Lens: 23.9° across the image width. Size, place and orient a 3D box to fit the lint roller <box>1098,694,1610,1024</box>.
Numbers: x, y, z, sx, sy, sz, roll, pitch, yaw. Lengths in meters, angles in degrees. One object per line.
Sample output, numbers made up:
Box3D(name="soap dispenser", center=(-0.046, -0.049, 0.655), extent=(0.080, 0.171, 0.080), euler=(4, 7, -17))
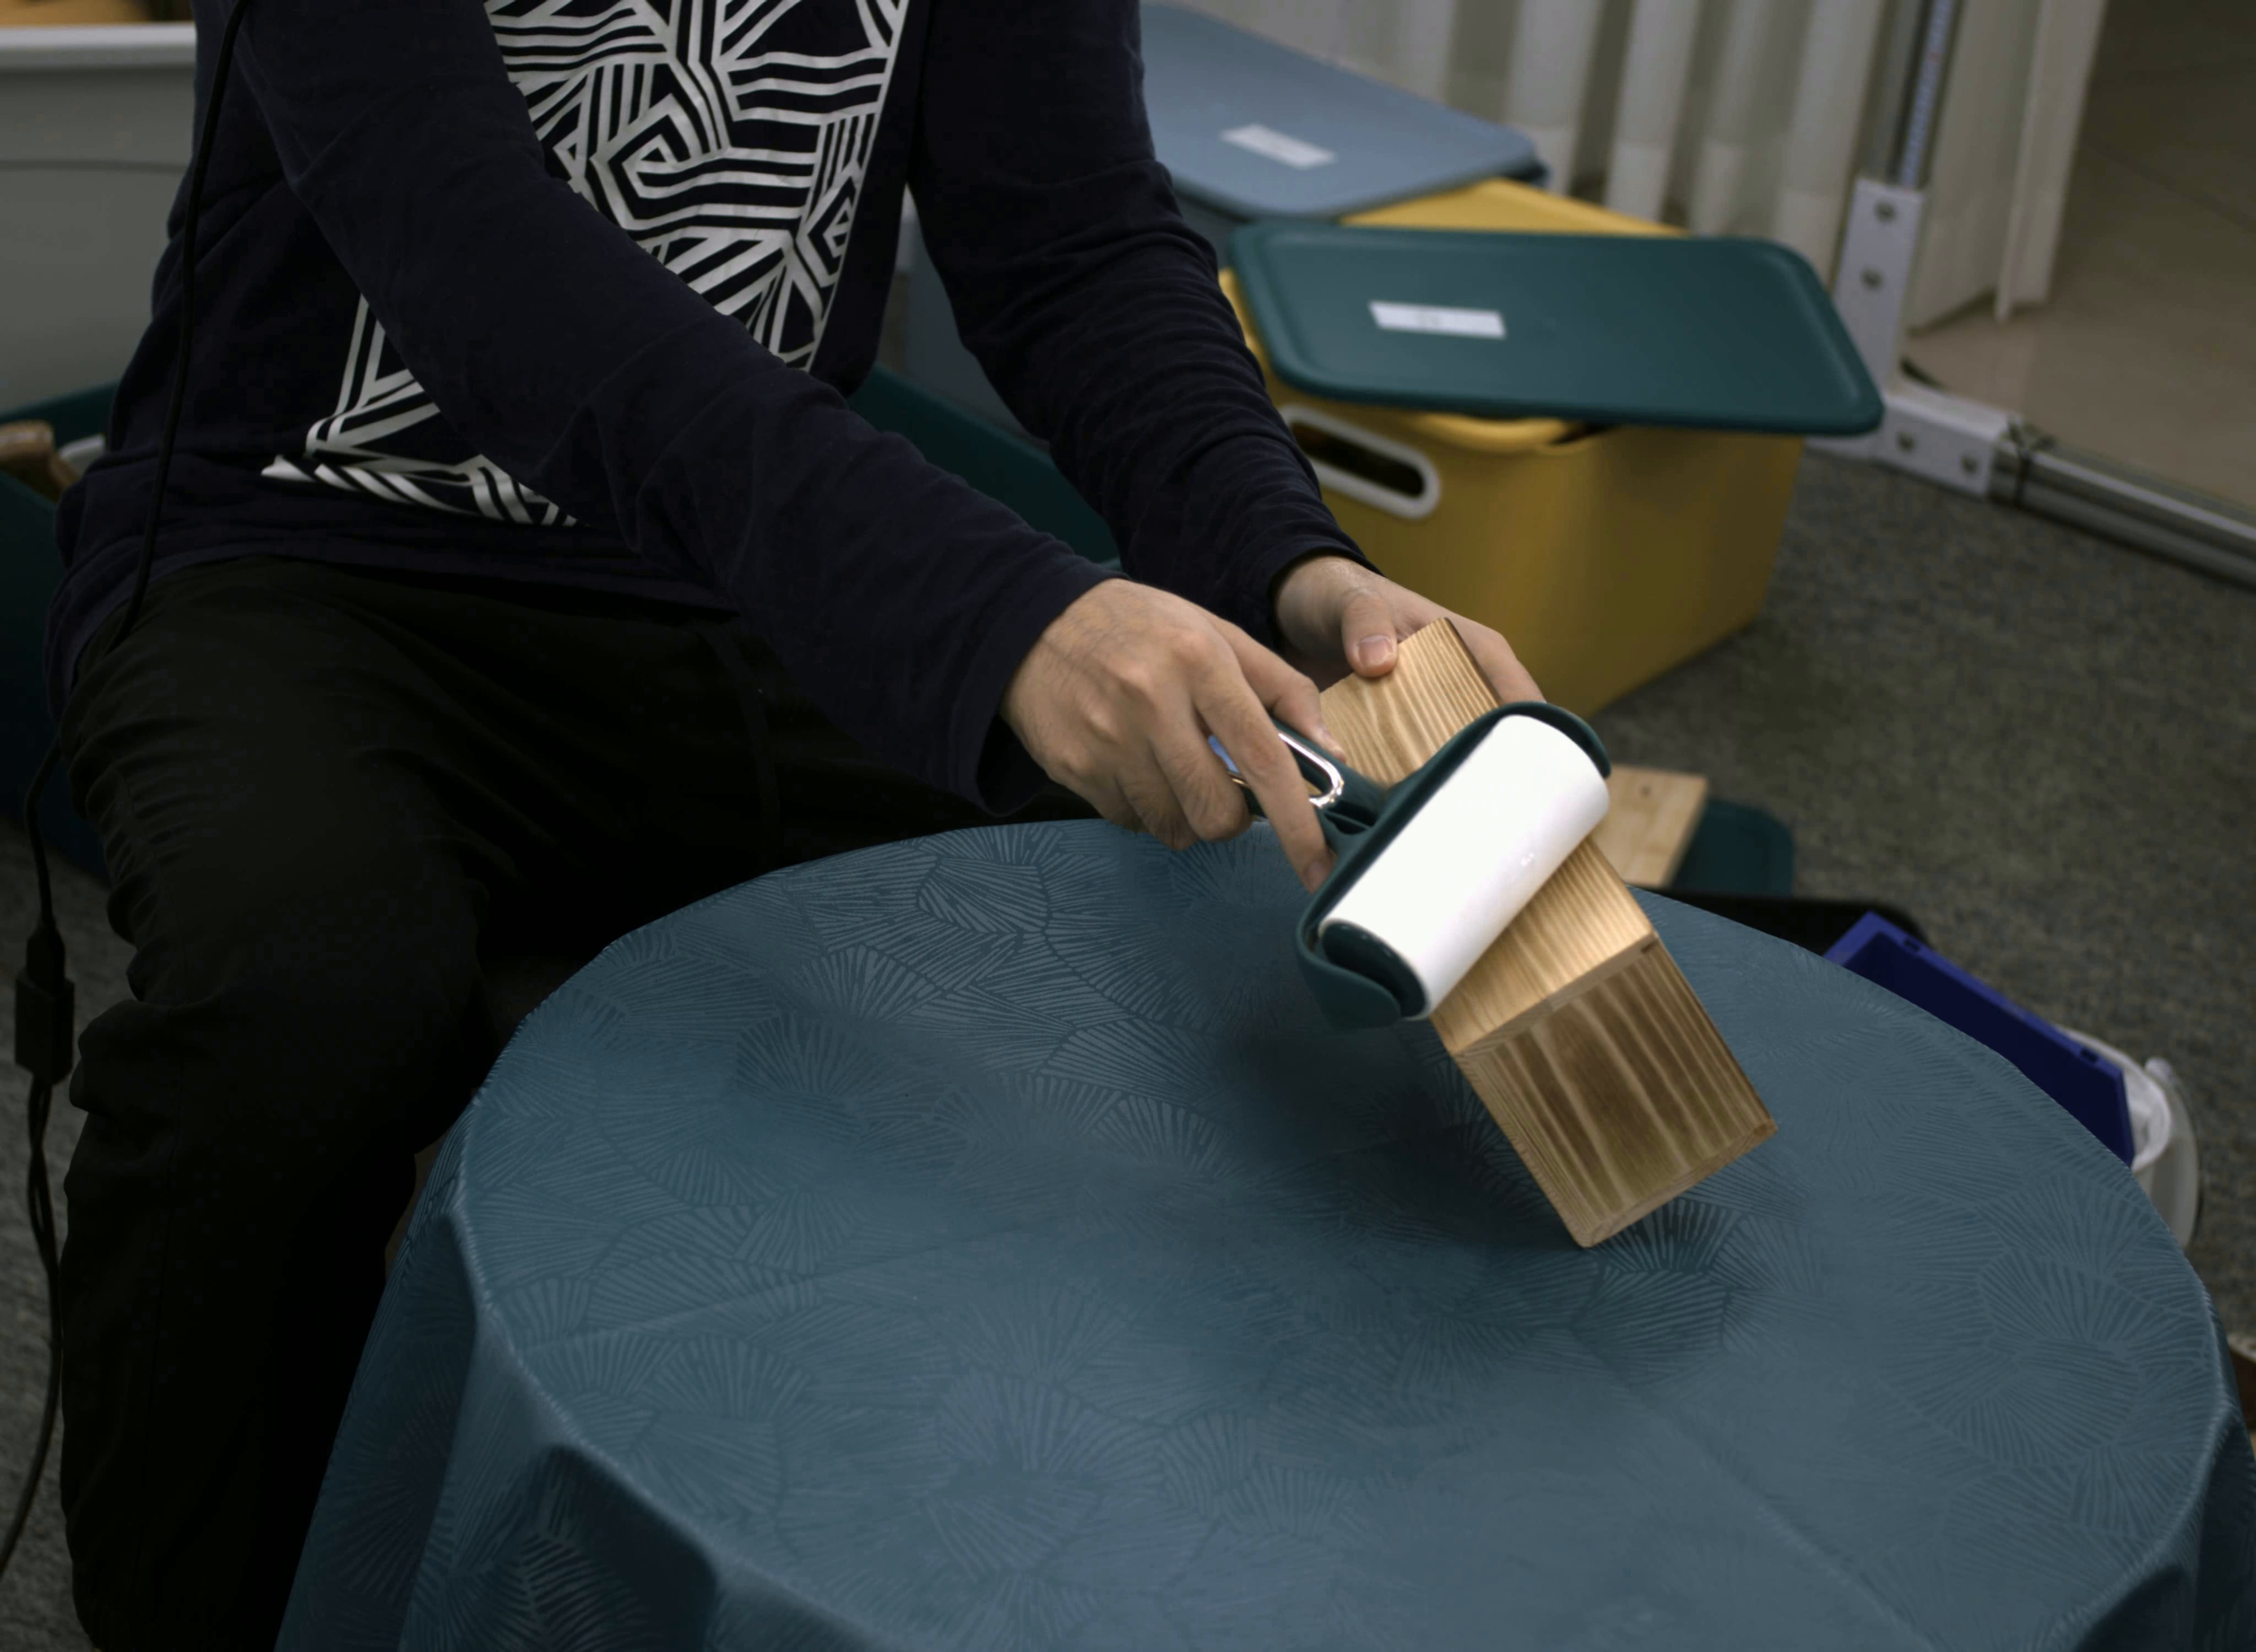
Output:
Box3D(name="lint roller", center=(0.058, -0.016, 1.789), extent=(0.181, 0.048, 0.134), euler=(28, 64, 31))

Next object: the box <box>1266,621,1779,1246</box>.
Box3D(name="box", center=(0.133, 0.035, 1.854), extent=(0.080, 0.106, 0.213), euler=(-33, 36, 3))
